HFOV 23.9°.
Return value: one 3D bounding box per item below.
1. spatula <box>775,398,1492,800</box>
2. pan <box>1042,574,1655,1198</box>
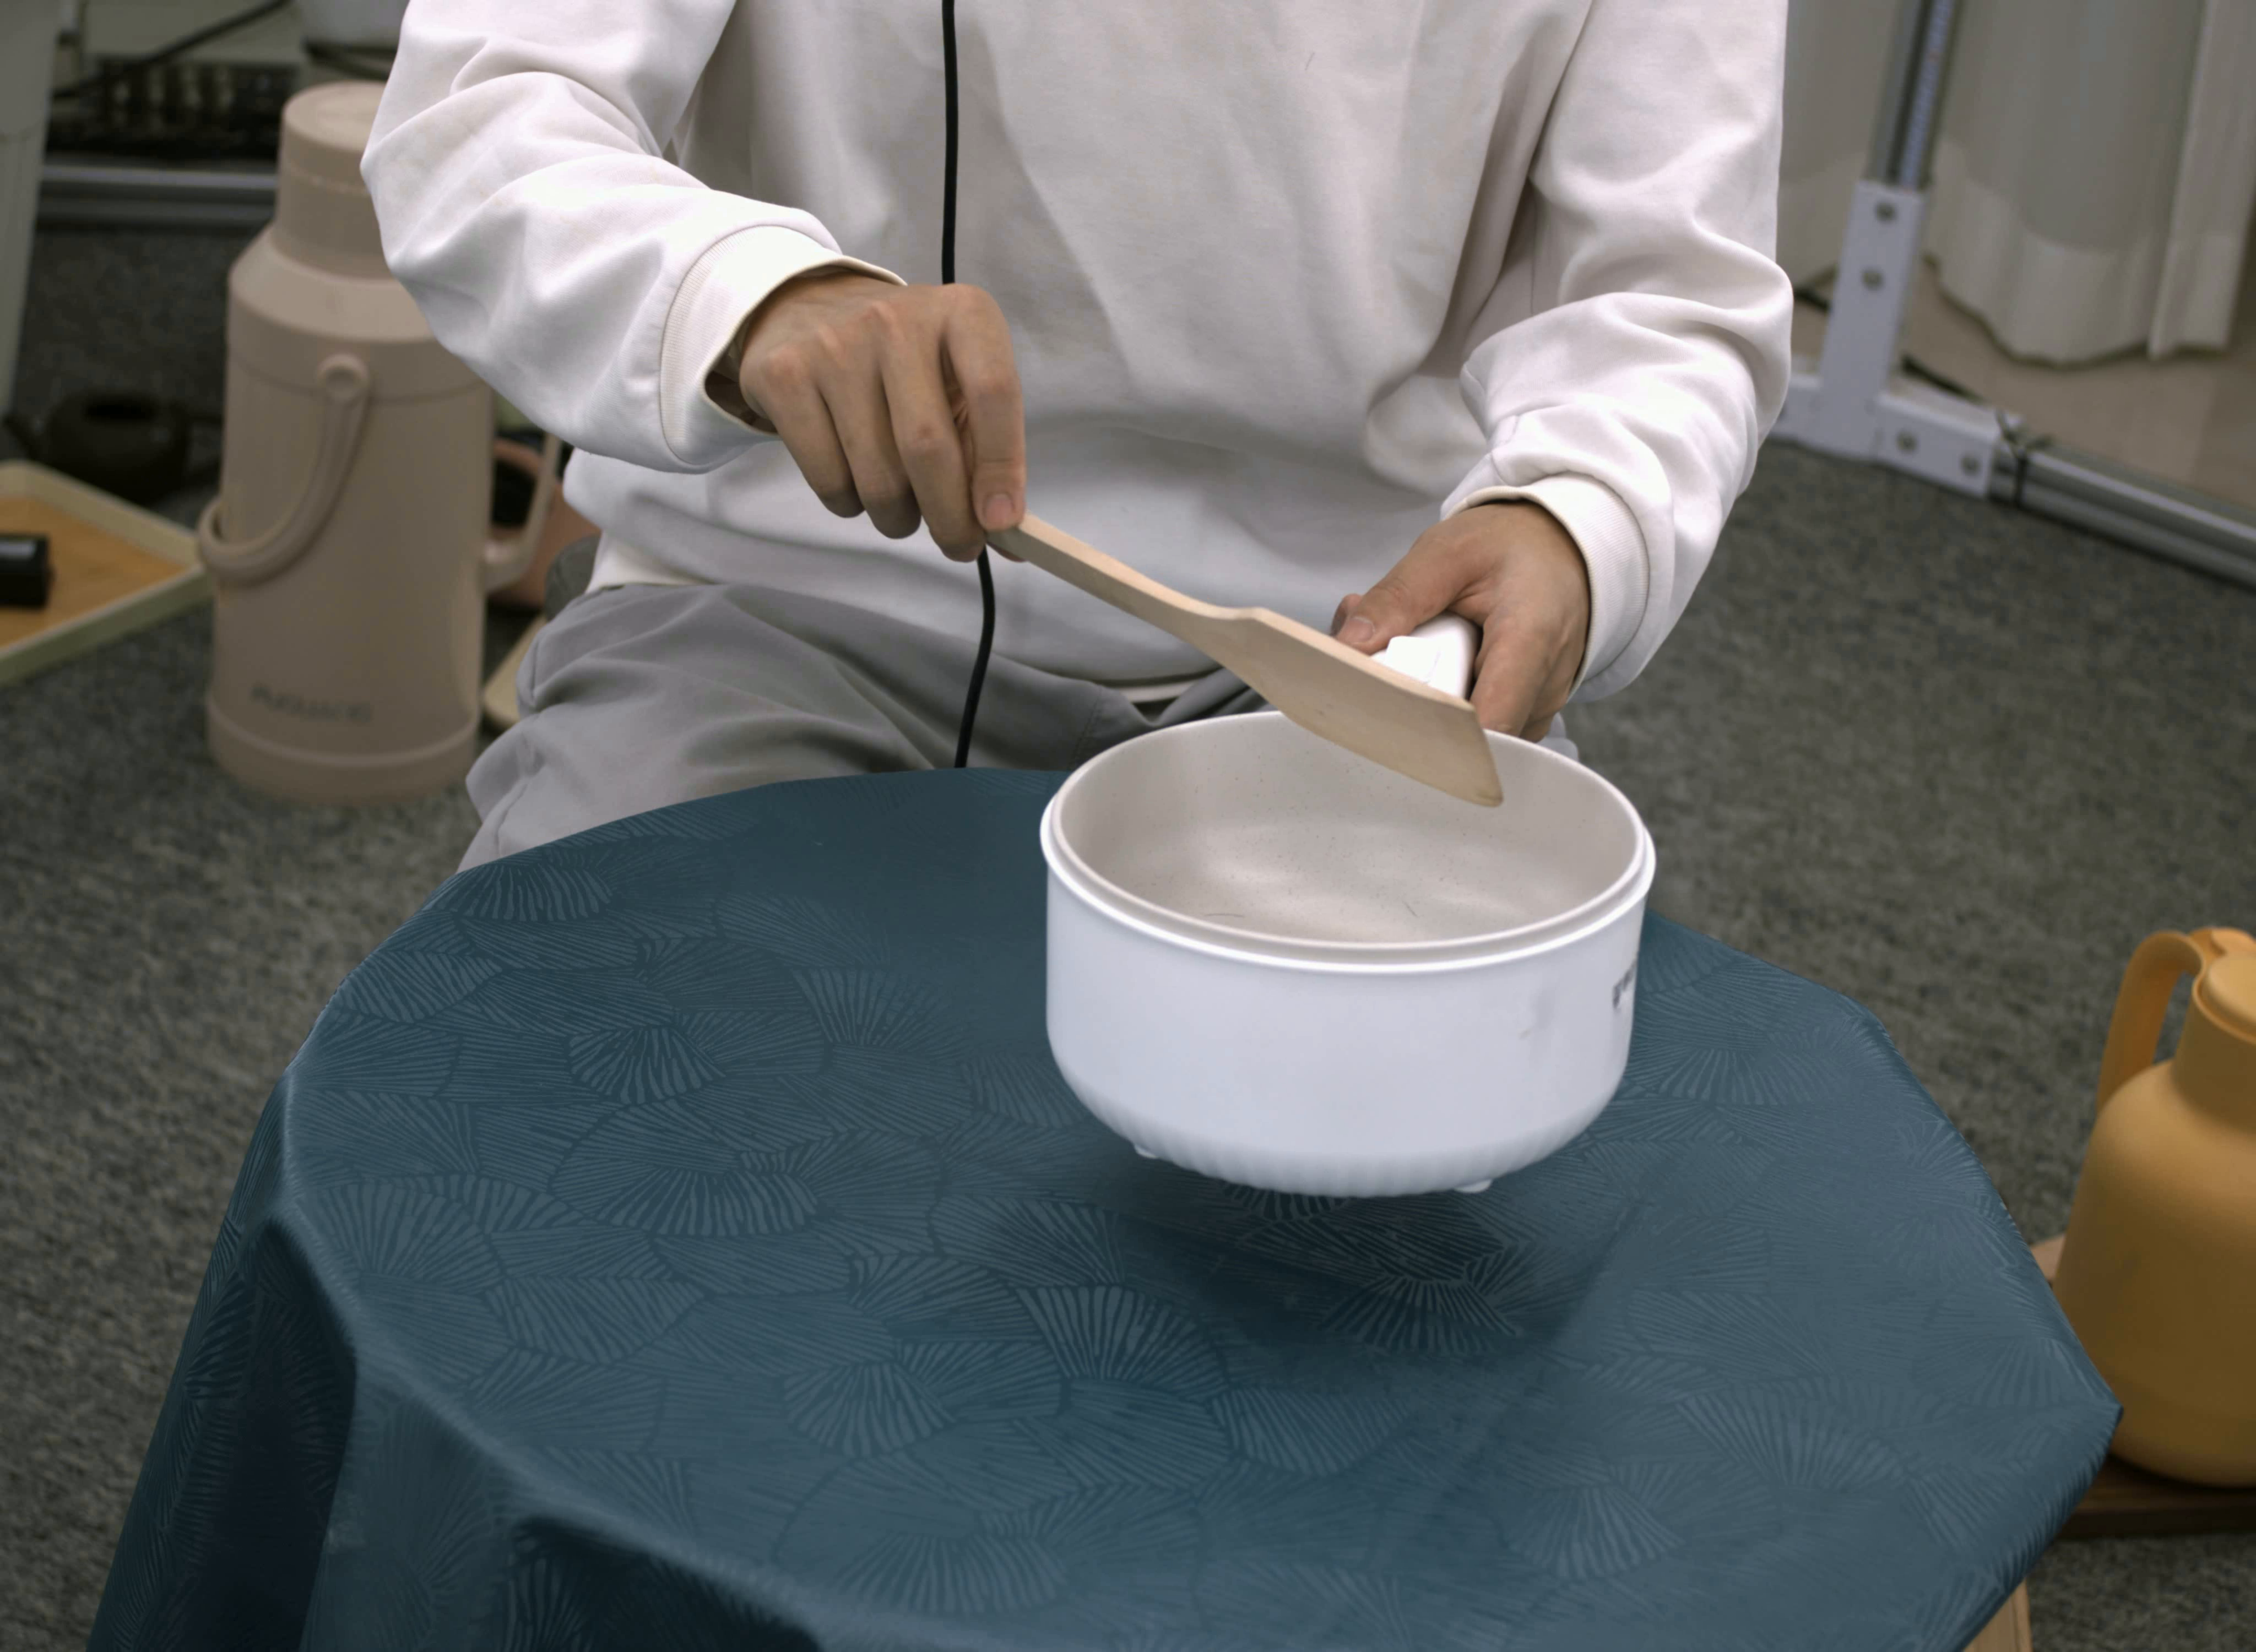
[{"bbox_3d":[-0.005,-0.083,1.796,0.294,0.072,0.010,28,73,26],"label":"spatula"},{"bbox_3d":[0.085,0.017,1.827,0.201,0.102,0.356,5,23,9],"label":"pan"}]
